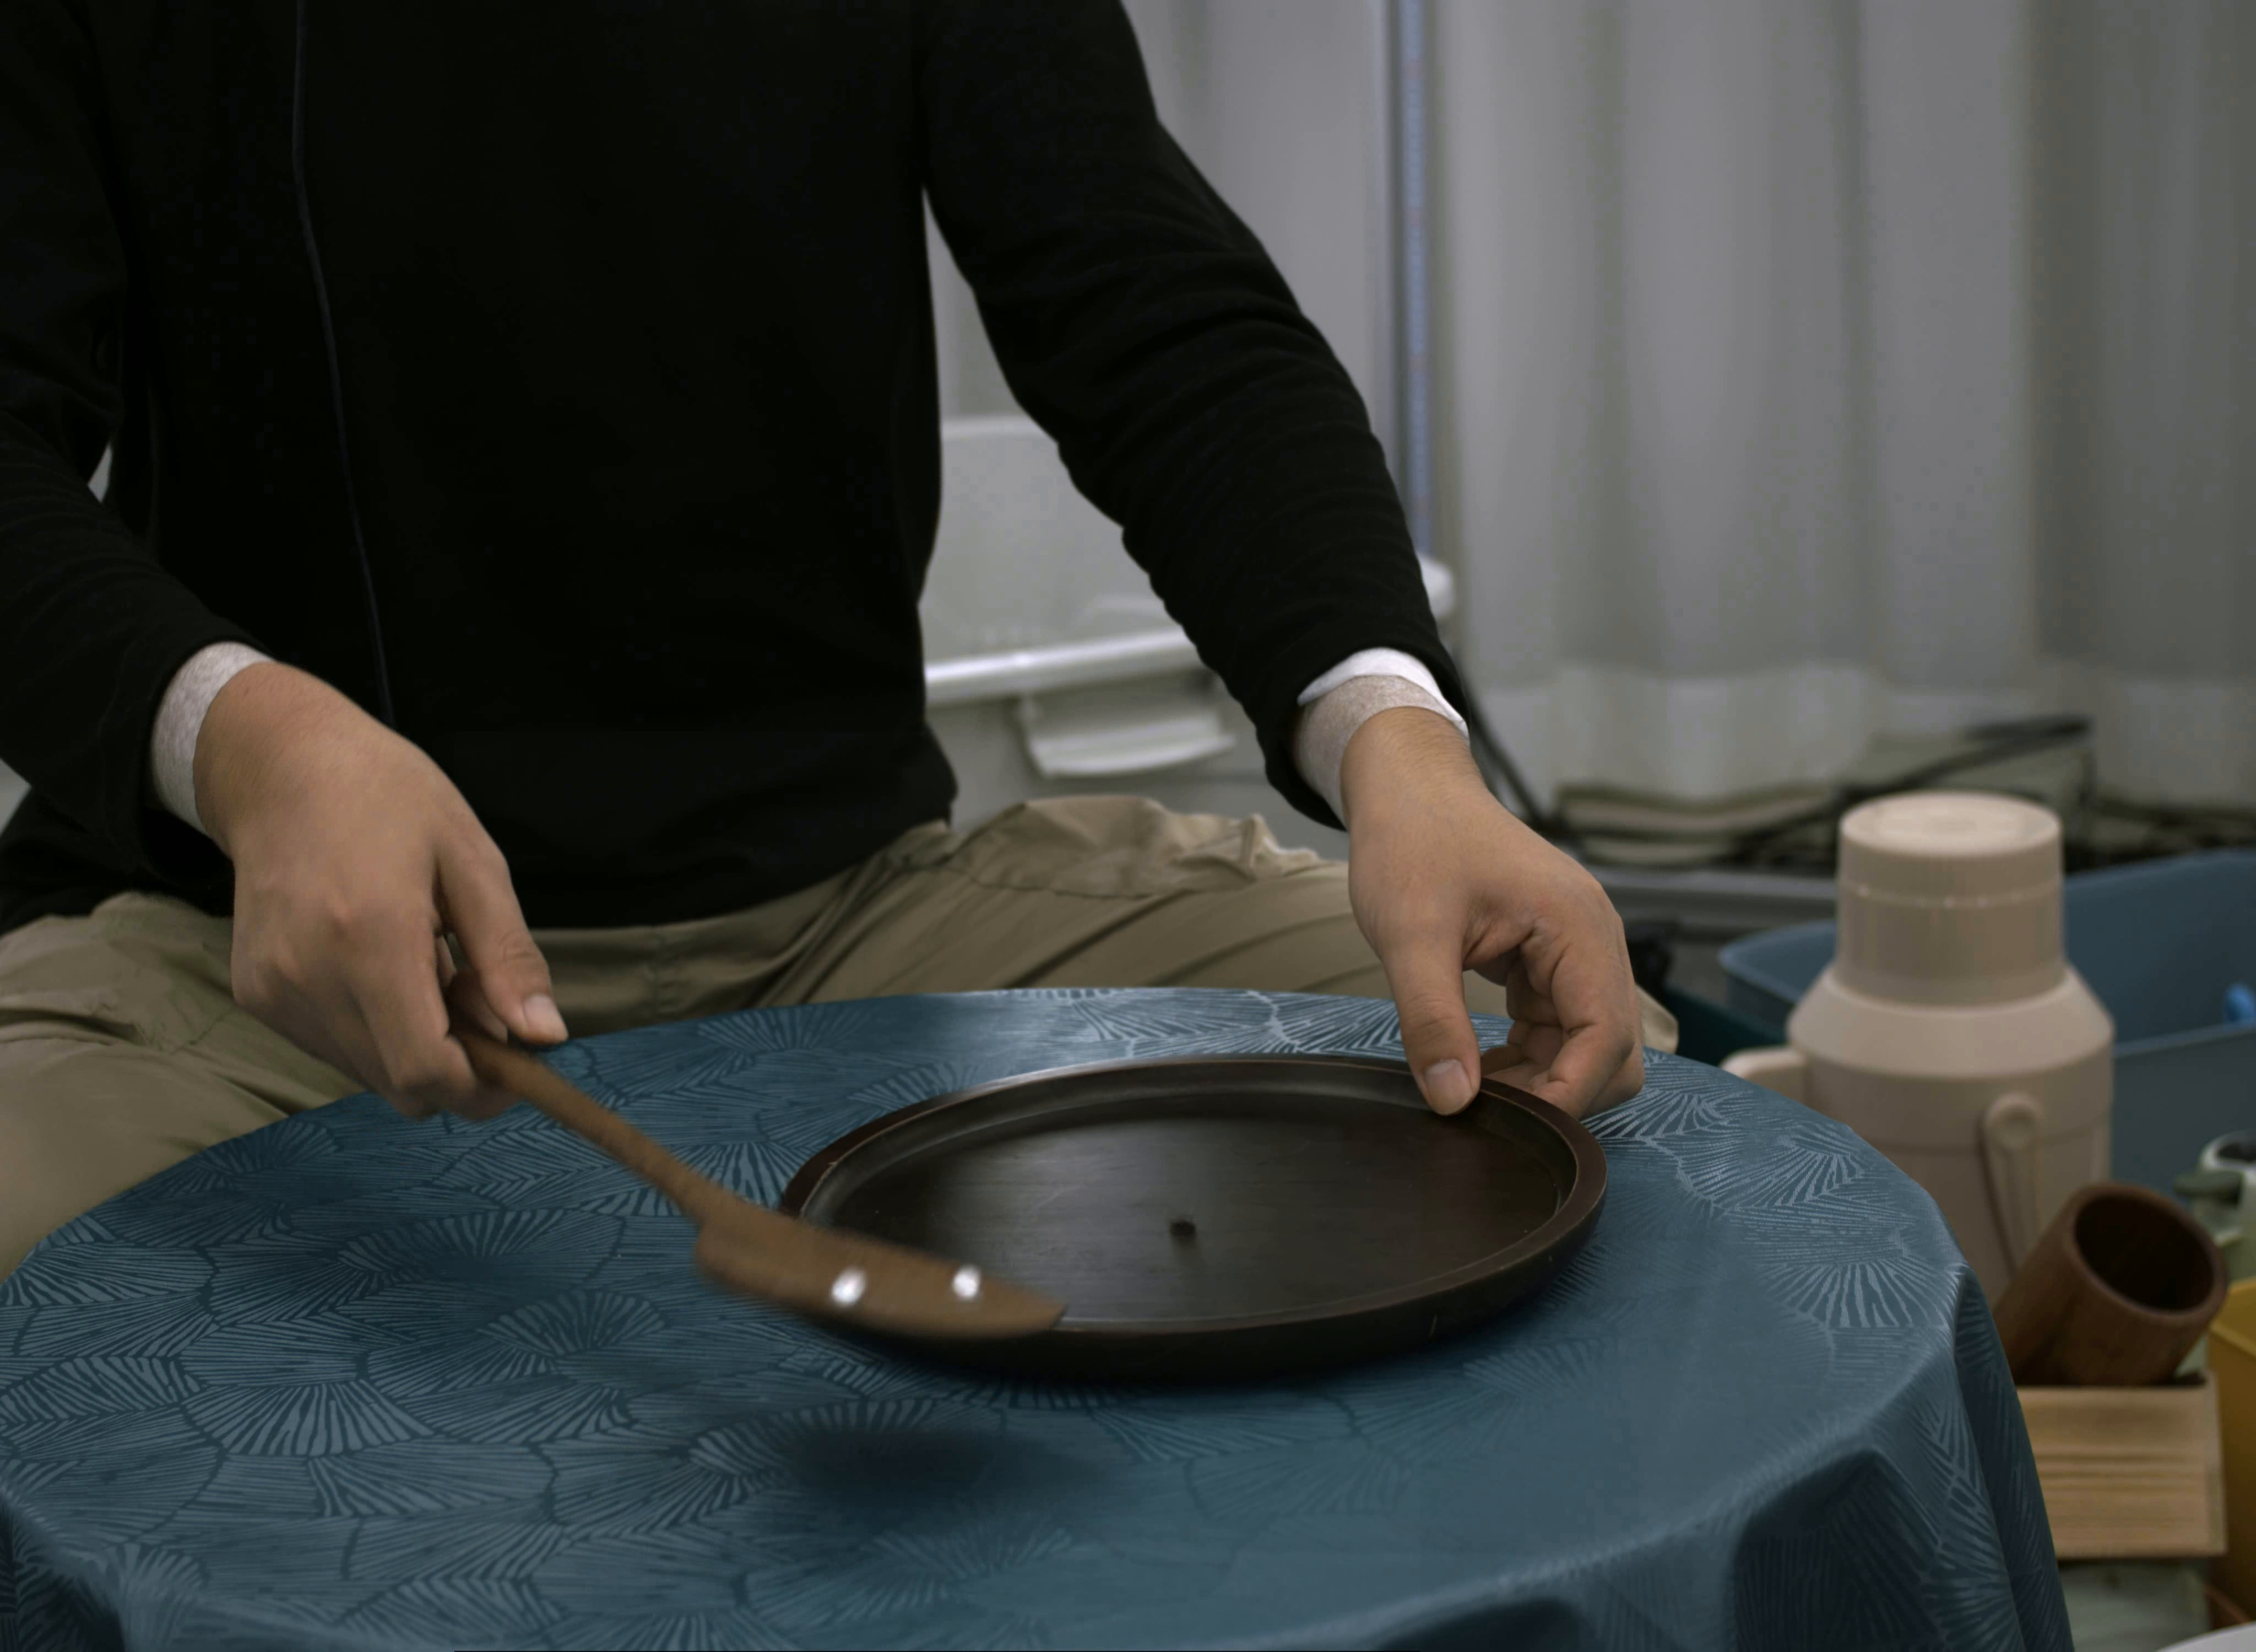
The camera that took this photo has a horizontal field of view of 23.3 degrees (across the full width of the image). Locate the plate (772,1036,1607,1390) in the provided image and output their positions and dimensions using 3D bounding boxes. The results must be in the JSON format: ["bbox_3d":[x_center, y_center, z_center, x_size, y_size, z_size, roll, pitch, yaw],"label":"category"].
[{"bbox_3d":[0.019,0.117,1.651,0.254,0.029,0.256,-5,15,1],"label":"plate"}]

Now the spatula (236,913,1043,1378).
[{"bbox_3d":[-0.164,0.088,1.599,0.095,0.016,0.389,5,15,-39],"label":"spatula"}]
